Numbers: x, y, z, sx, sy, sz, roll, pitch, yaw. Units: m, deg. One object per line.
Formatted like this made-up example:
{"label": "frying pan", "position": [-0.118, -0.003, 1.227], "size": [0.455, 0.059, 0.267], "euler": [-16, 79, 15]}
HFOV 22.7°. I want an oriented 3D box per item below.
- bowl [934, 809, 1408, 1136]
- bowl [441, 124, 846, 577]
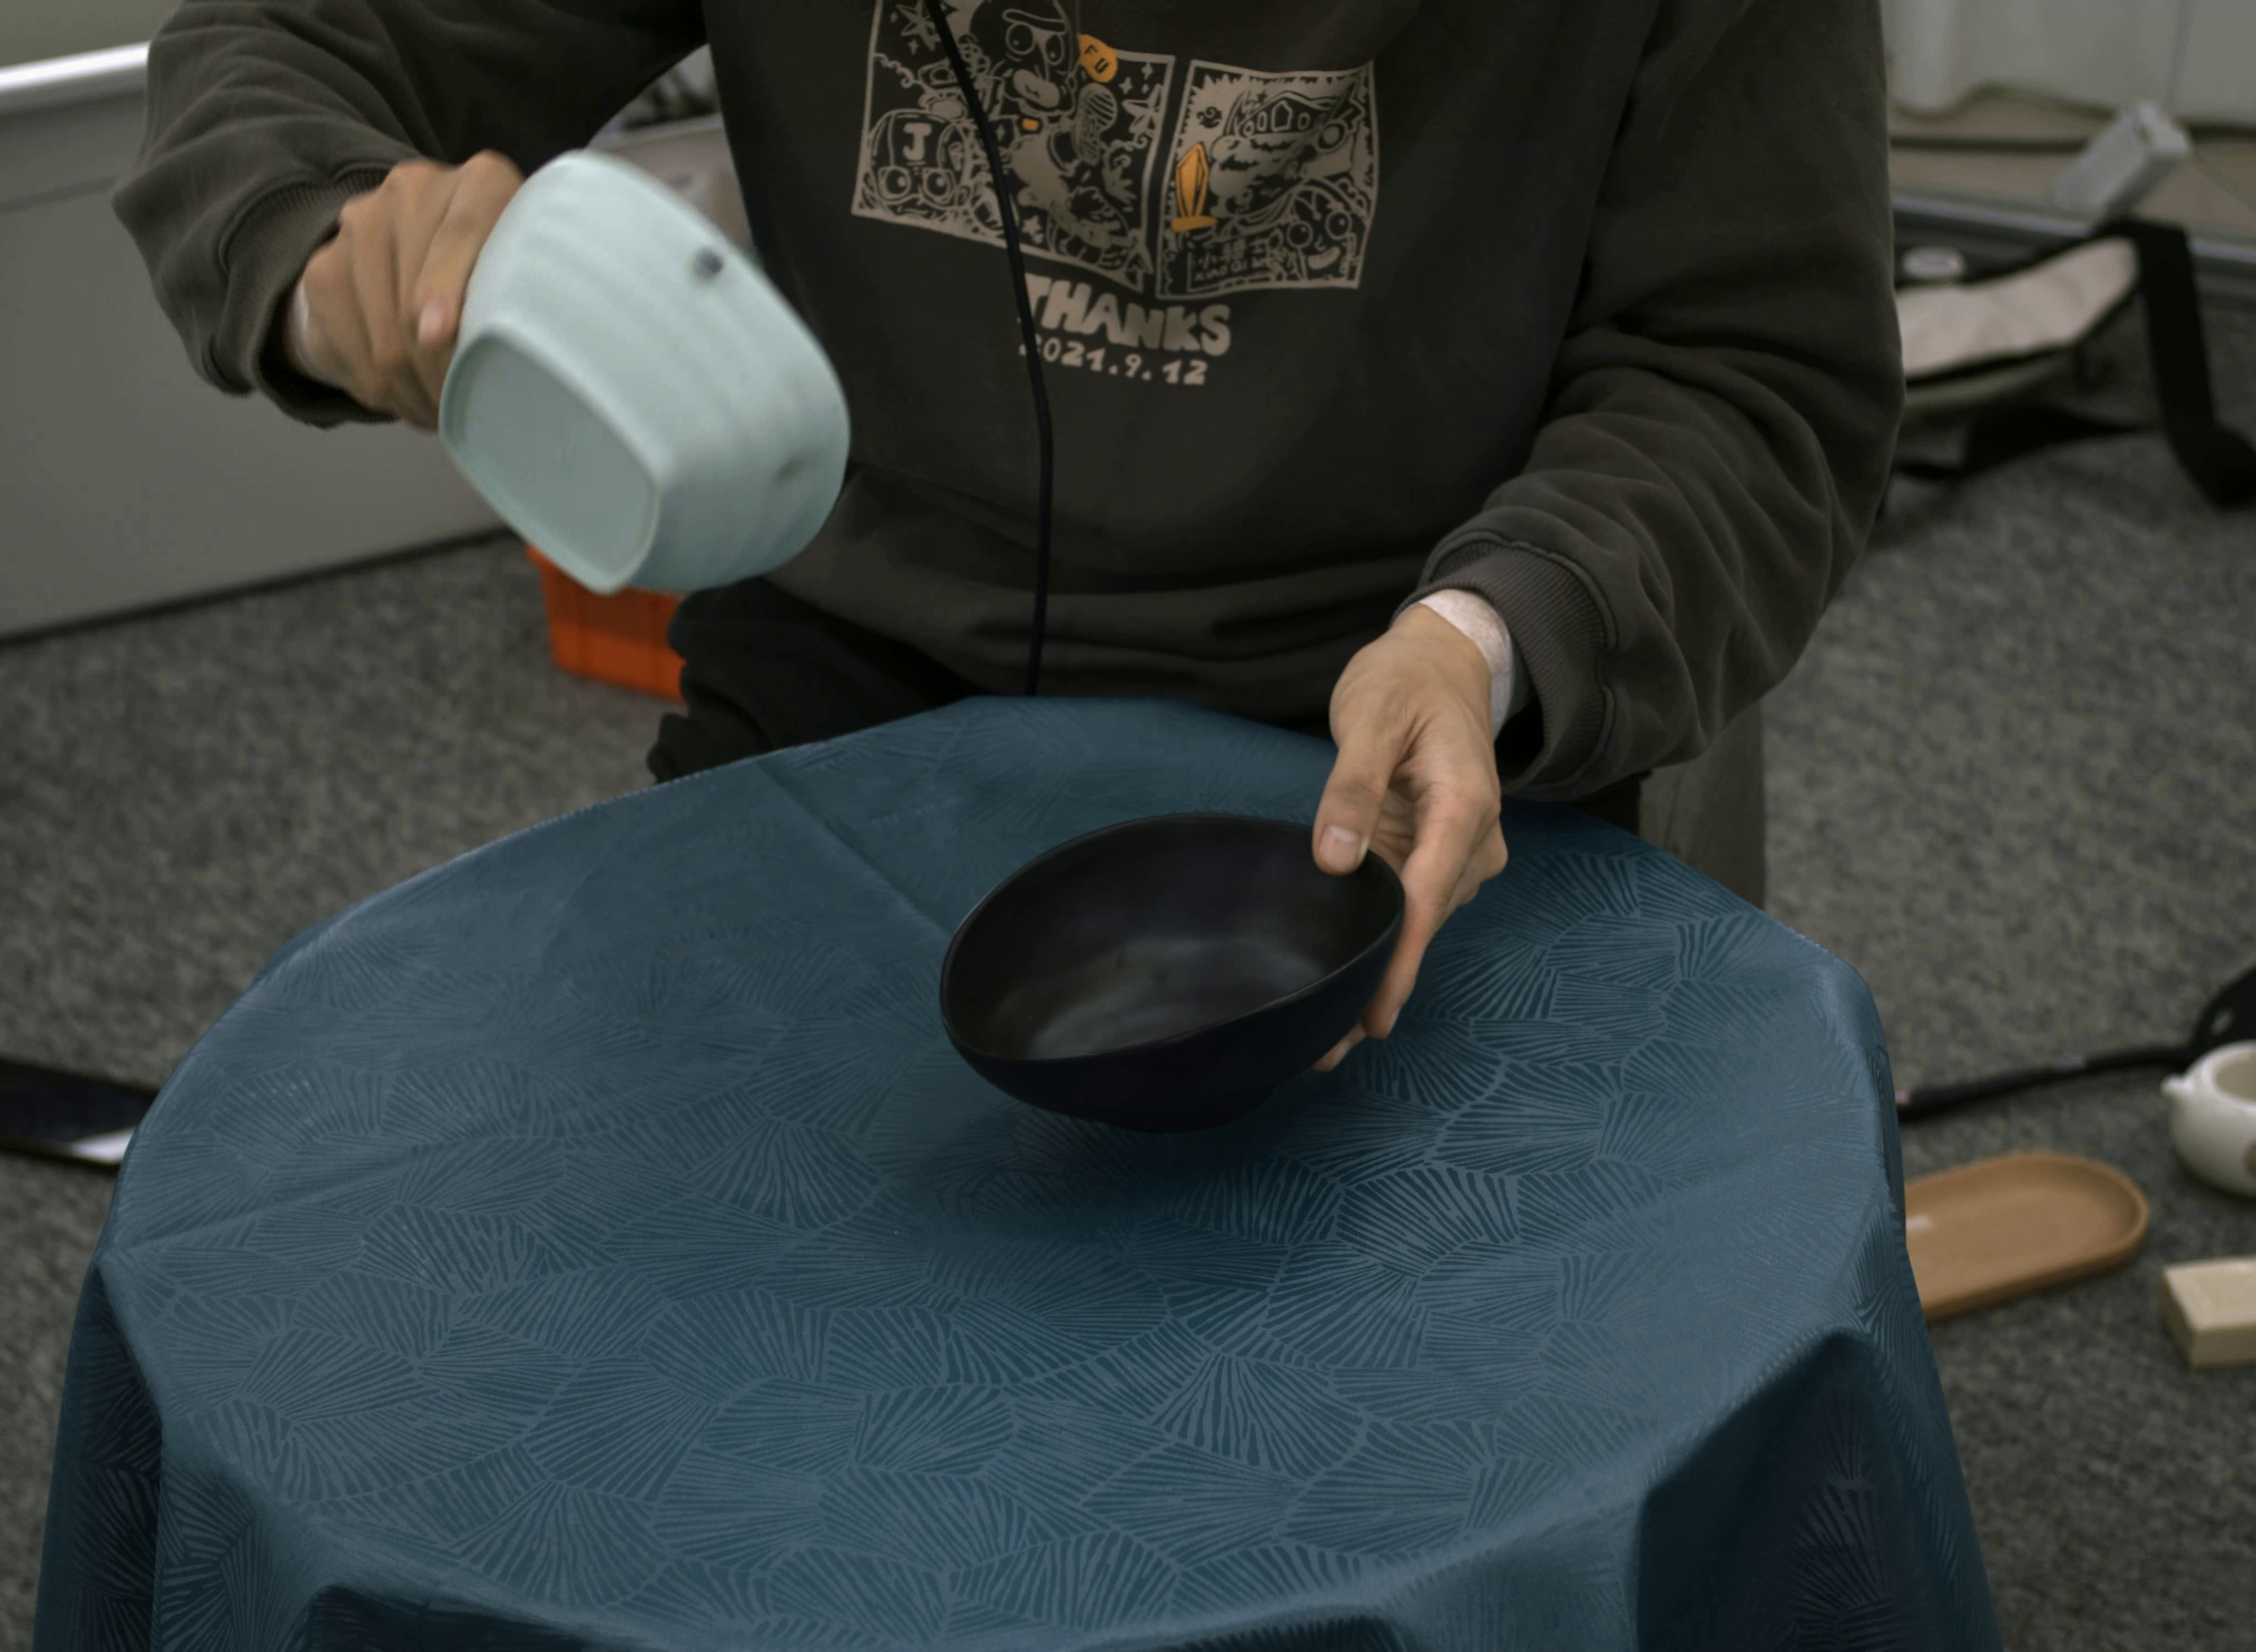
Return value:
{"label": "bowl", "position": [0.017, 0.059, 1.876], "size": [0.172, 0.066, 0.137], "euler": [-25, 34, -32]}
{"label": "bowl", "position": [-0.159, -0.134, 1.729], "size": [0.151, 0.149, 0.059], "euler": [20, 43, 37]}
